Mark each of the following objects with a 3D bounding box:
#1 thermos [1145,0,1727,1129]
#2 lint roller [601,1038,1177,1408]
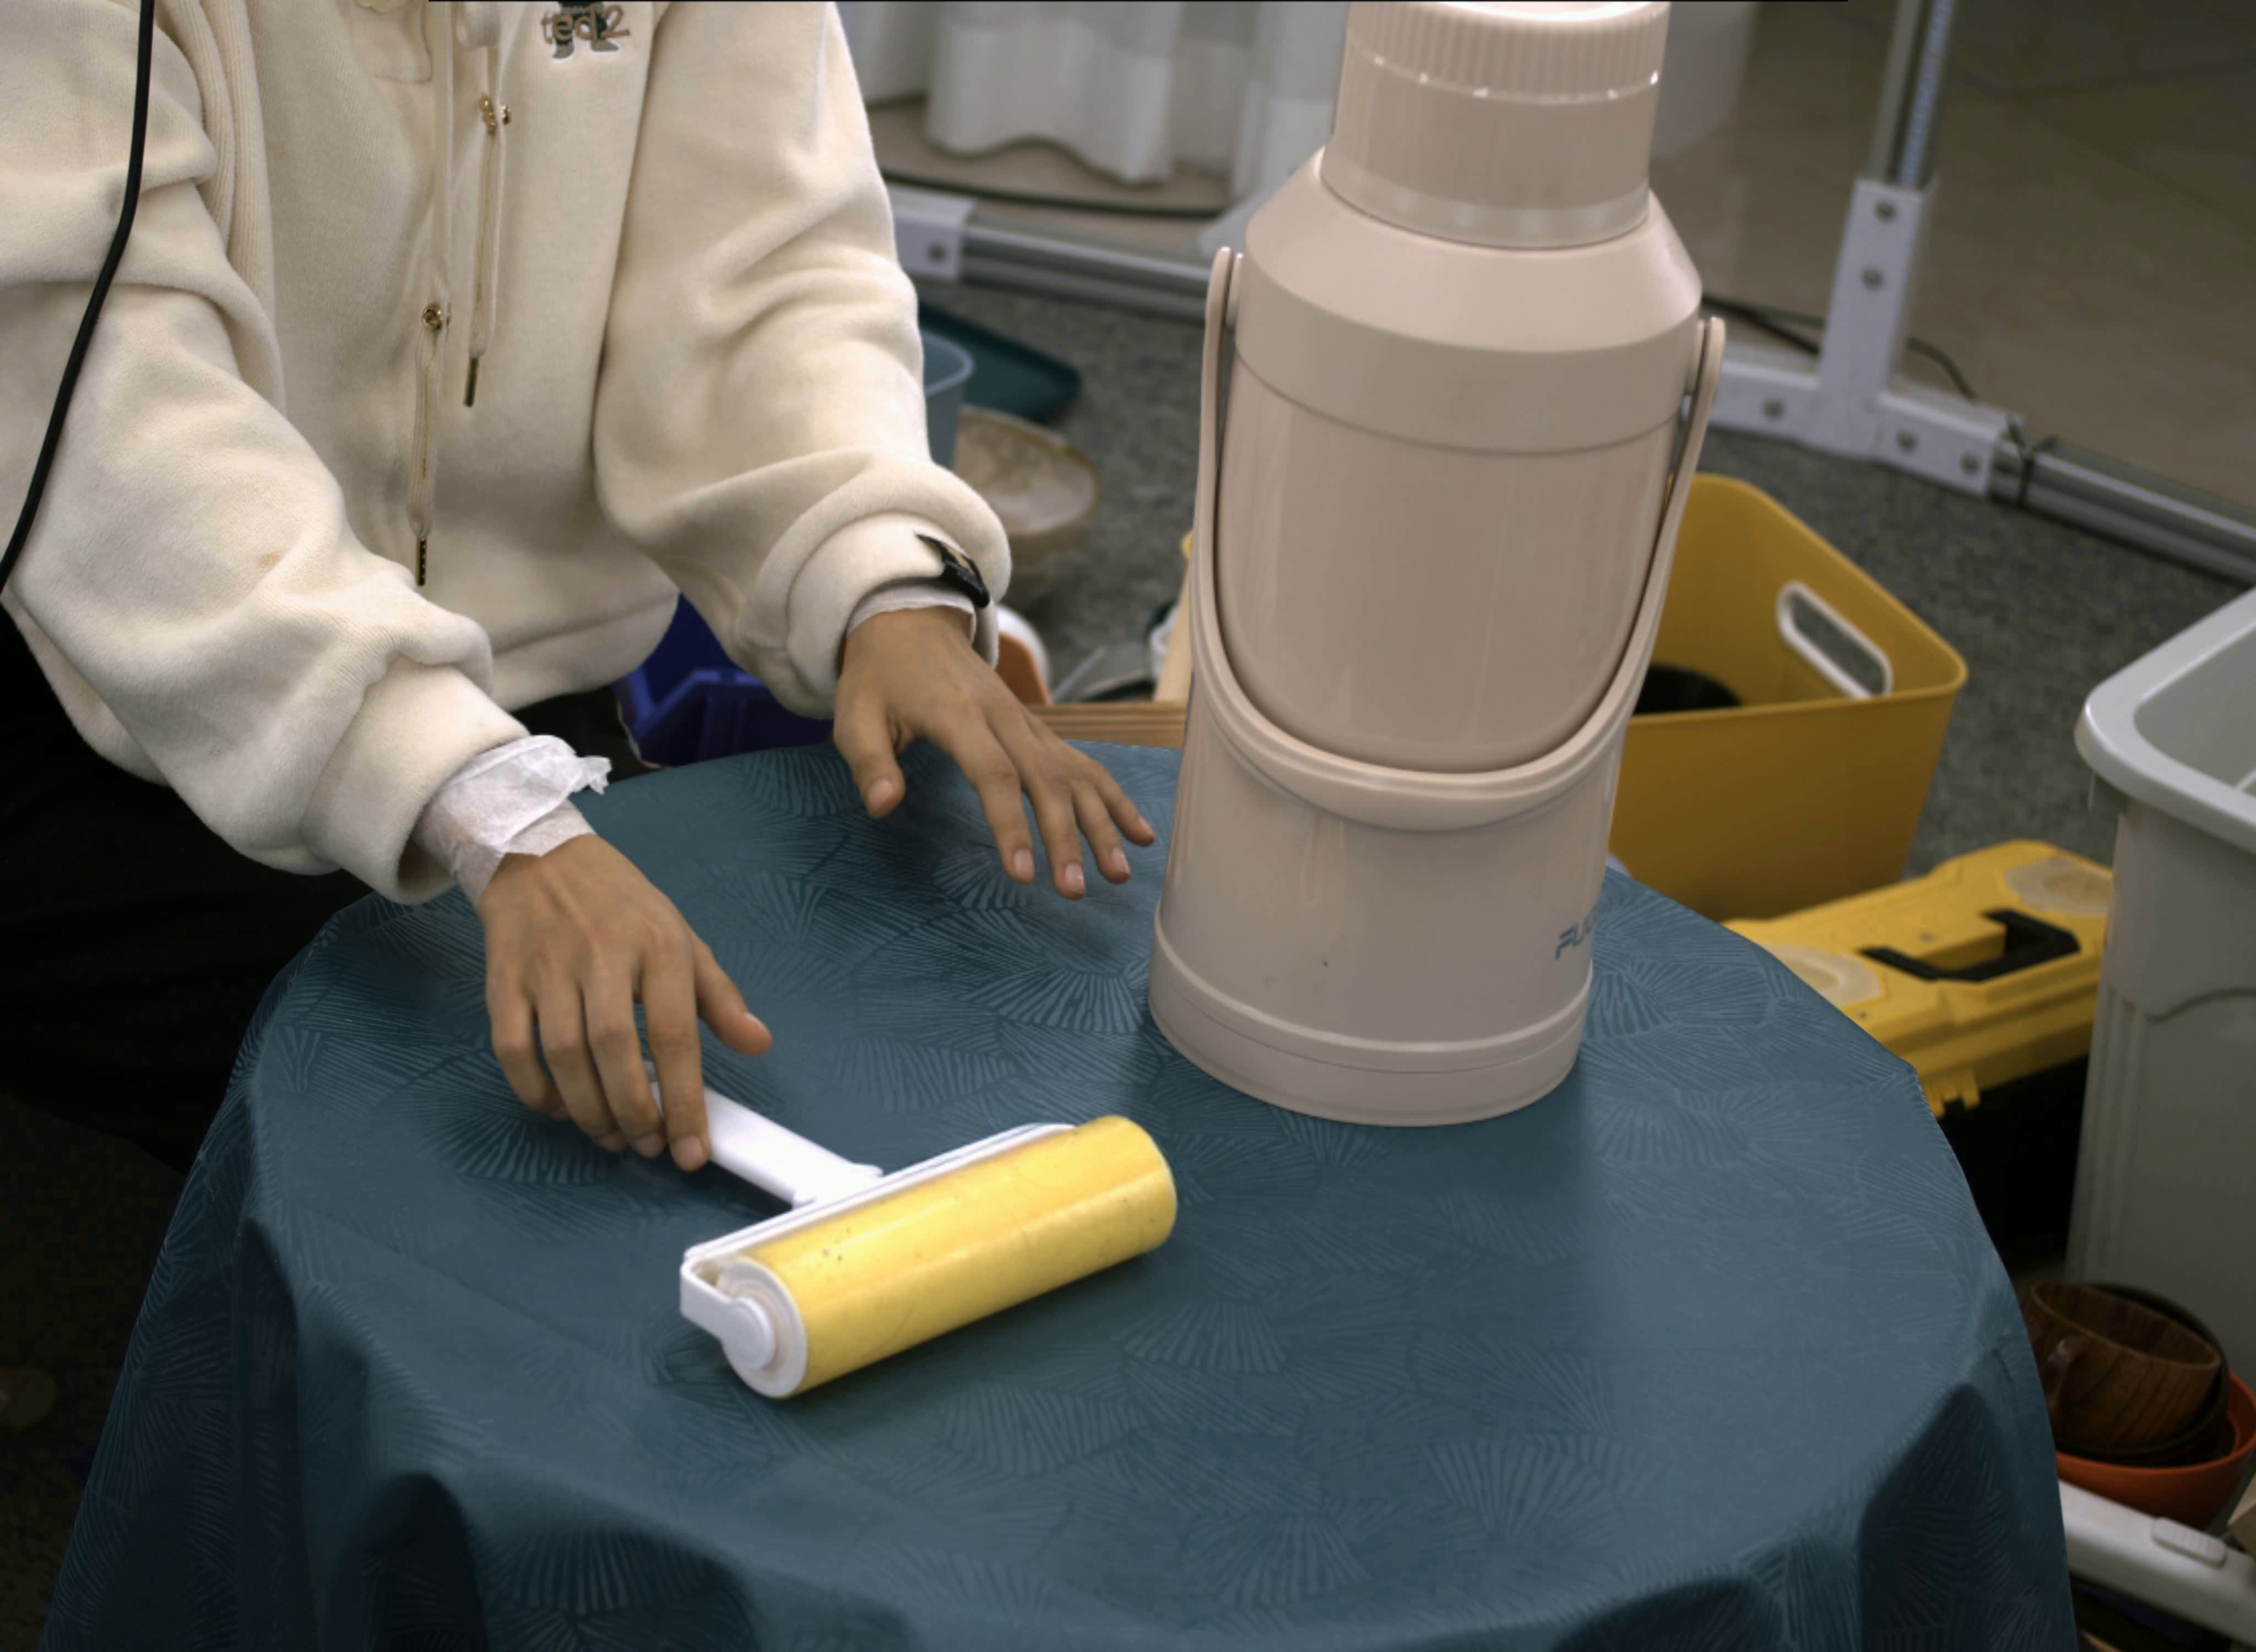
[{"bbox_3d":[0.109,-0.111,1.852,0.175,0.405,0.208,8,26,4],"label":"thermos"},{"bbox_3d":[-0.106,0.107,1.751,0.173,0.051,0.193,-19,43,-41],"label":"lint roller"}]
